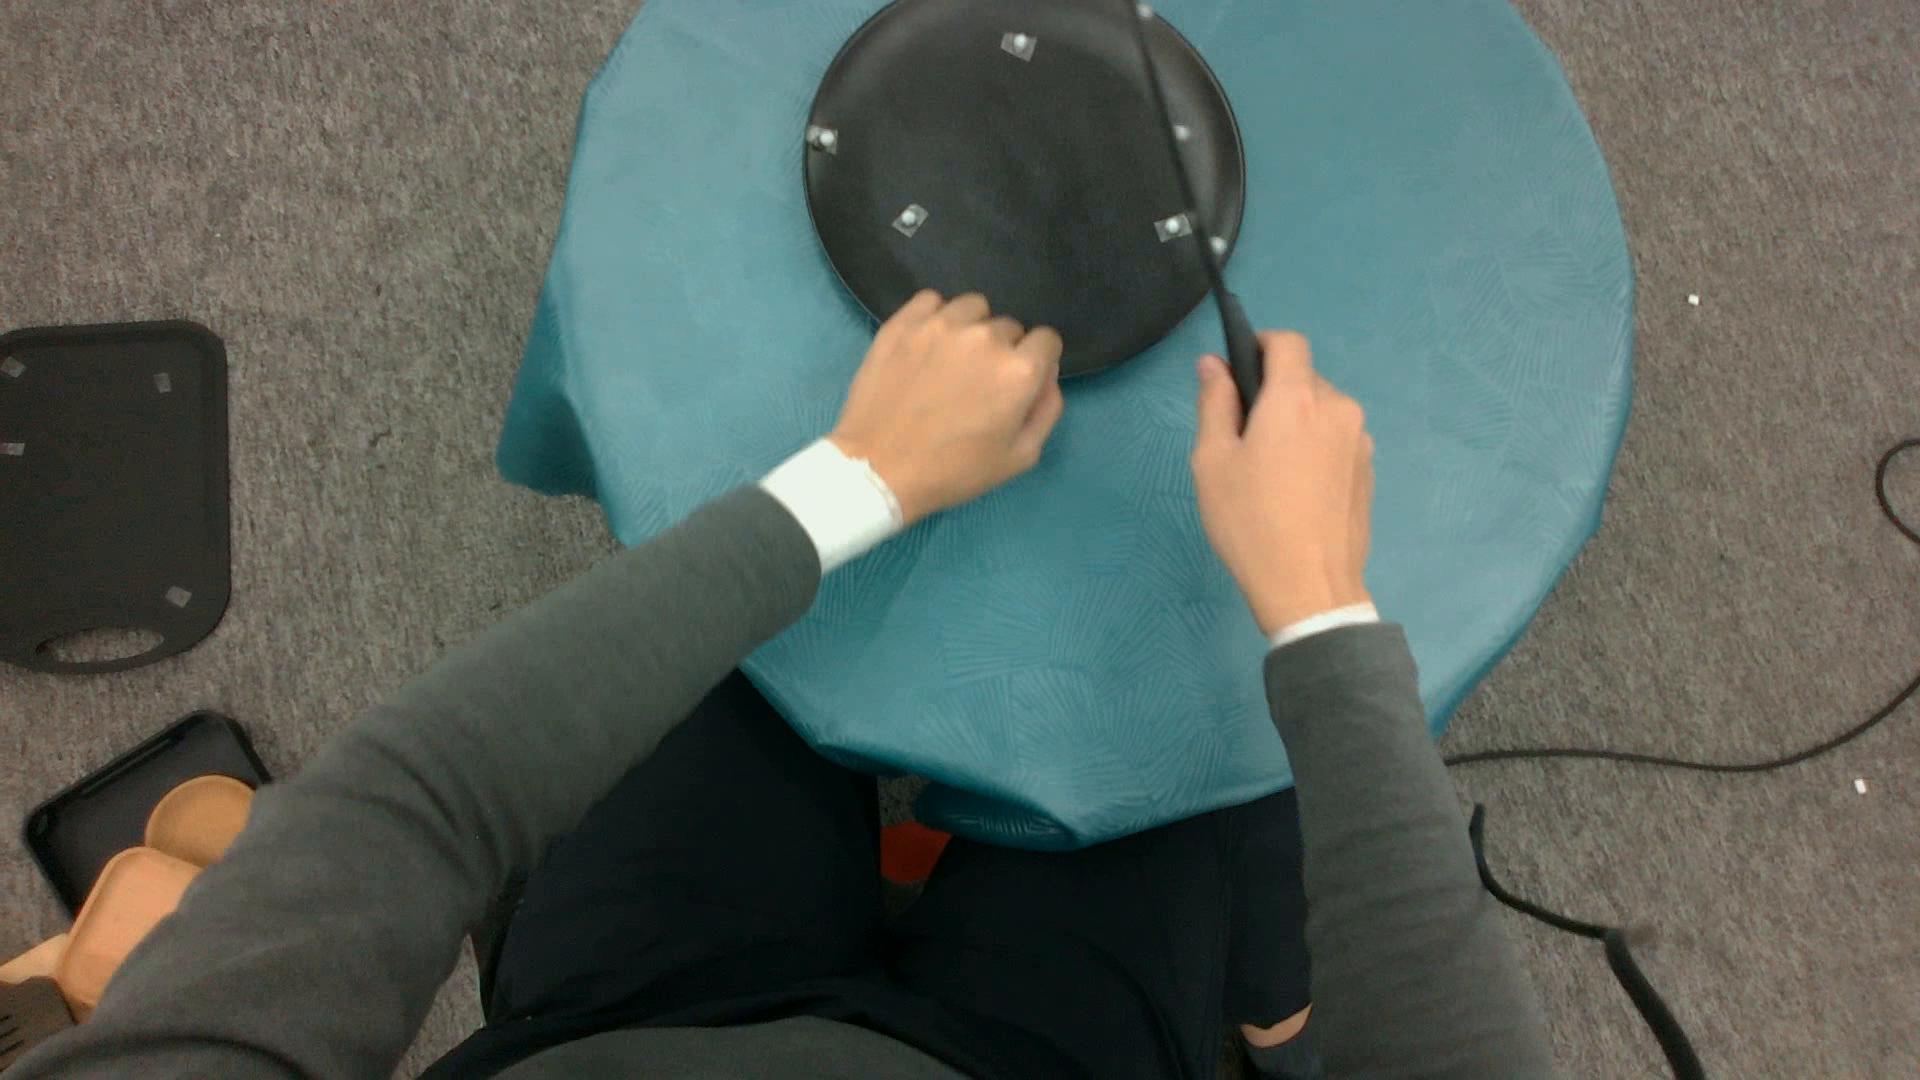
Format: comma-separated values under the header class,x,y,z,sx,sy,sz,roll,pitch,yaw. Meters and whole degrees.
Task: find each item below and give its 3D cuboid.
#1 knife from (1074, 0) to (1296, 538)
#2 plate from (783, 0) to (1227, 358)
class,x,y,z,sx,sy,sz,roll,pitch,yaw
knife,0.101,-0.145,0.662,0.021,0.081,0.302,-20,84,6
plate,0.025,-0.213,0.757,0.244,0.023,0.245,1,78,-5
